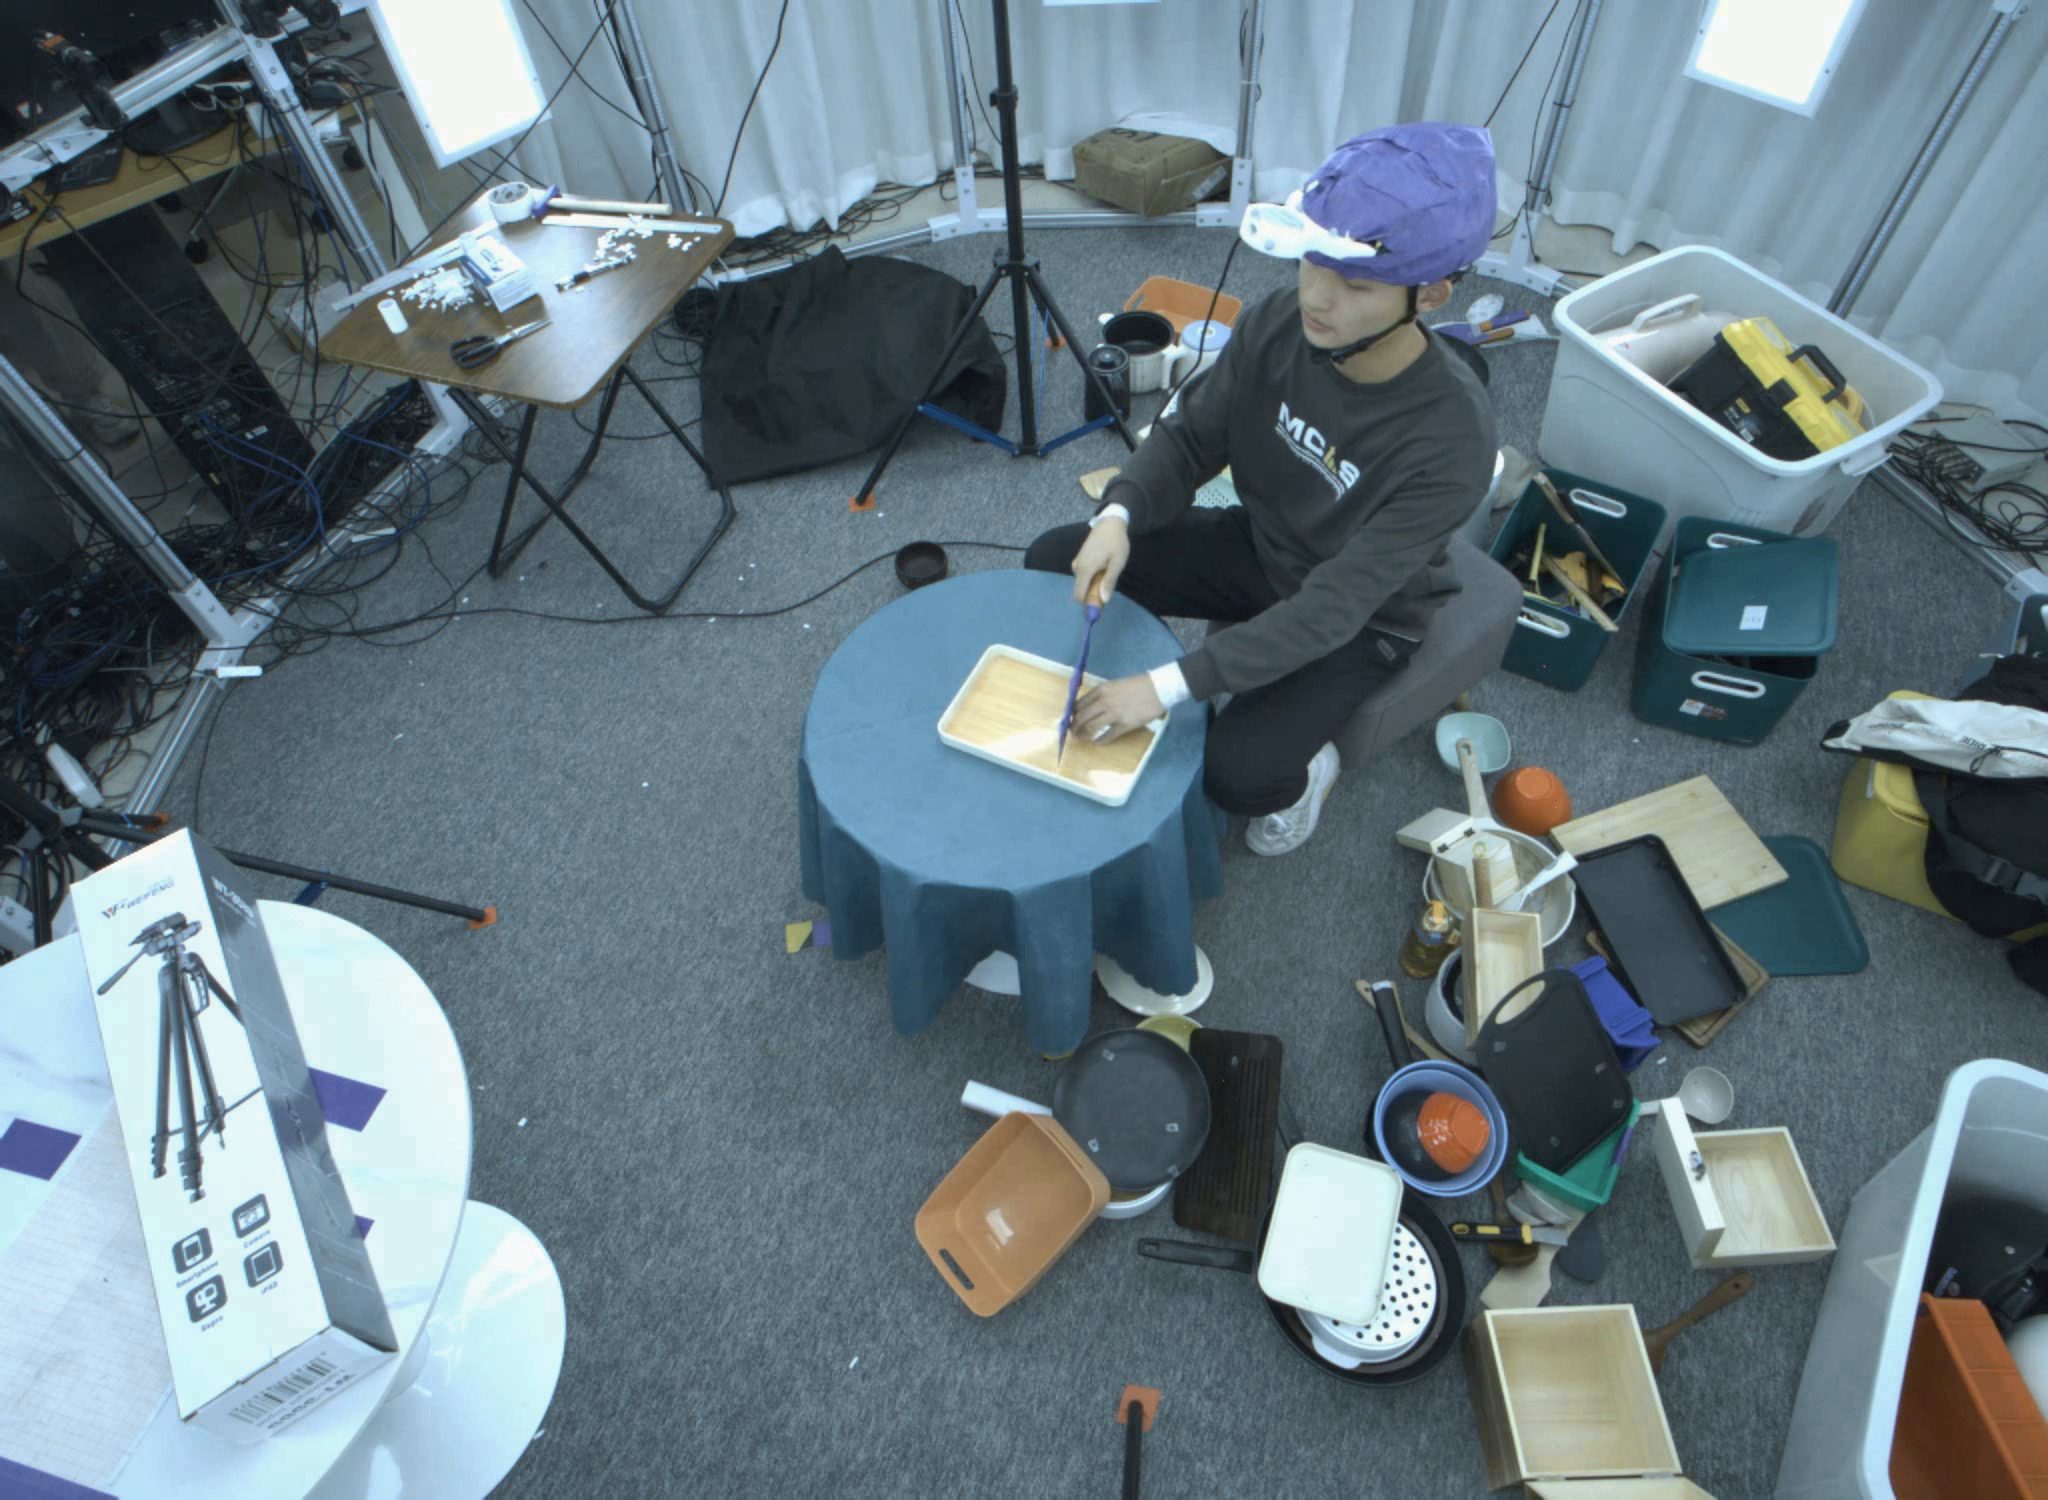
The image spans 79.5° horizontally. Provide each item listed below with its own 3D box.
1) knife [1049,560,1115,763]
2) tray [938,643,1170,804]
[{"bbox_3d":[0.080,-0.131,1.785,0.032,0.104,0.314,15,61,6],"label":"knife"},{"bbox_3d":[0.044,-0.044,1.807,0.297,0.028,0.192,20,58,15],"label":"tray"}]
